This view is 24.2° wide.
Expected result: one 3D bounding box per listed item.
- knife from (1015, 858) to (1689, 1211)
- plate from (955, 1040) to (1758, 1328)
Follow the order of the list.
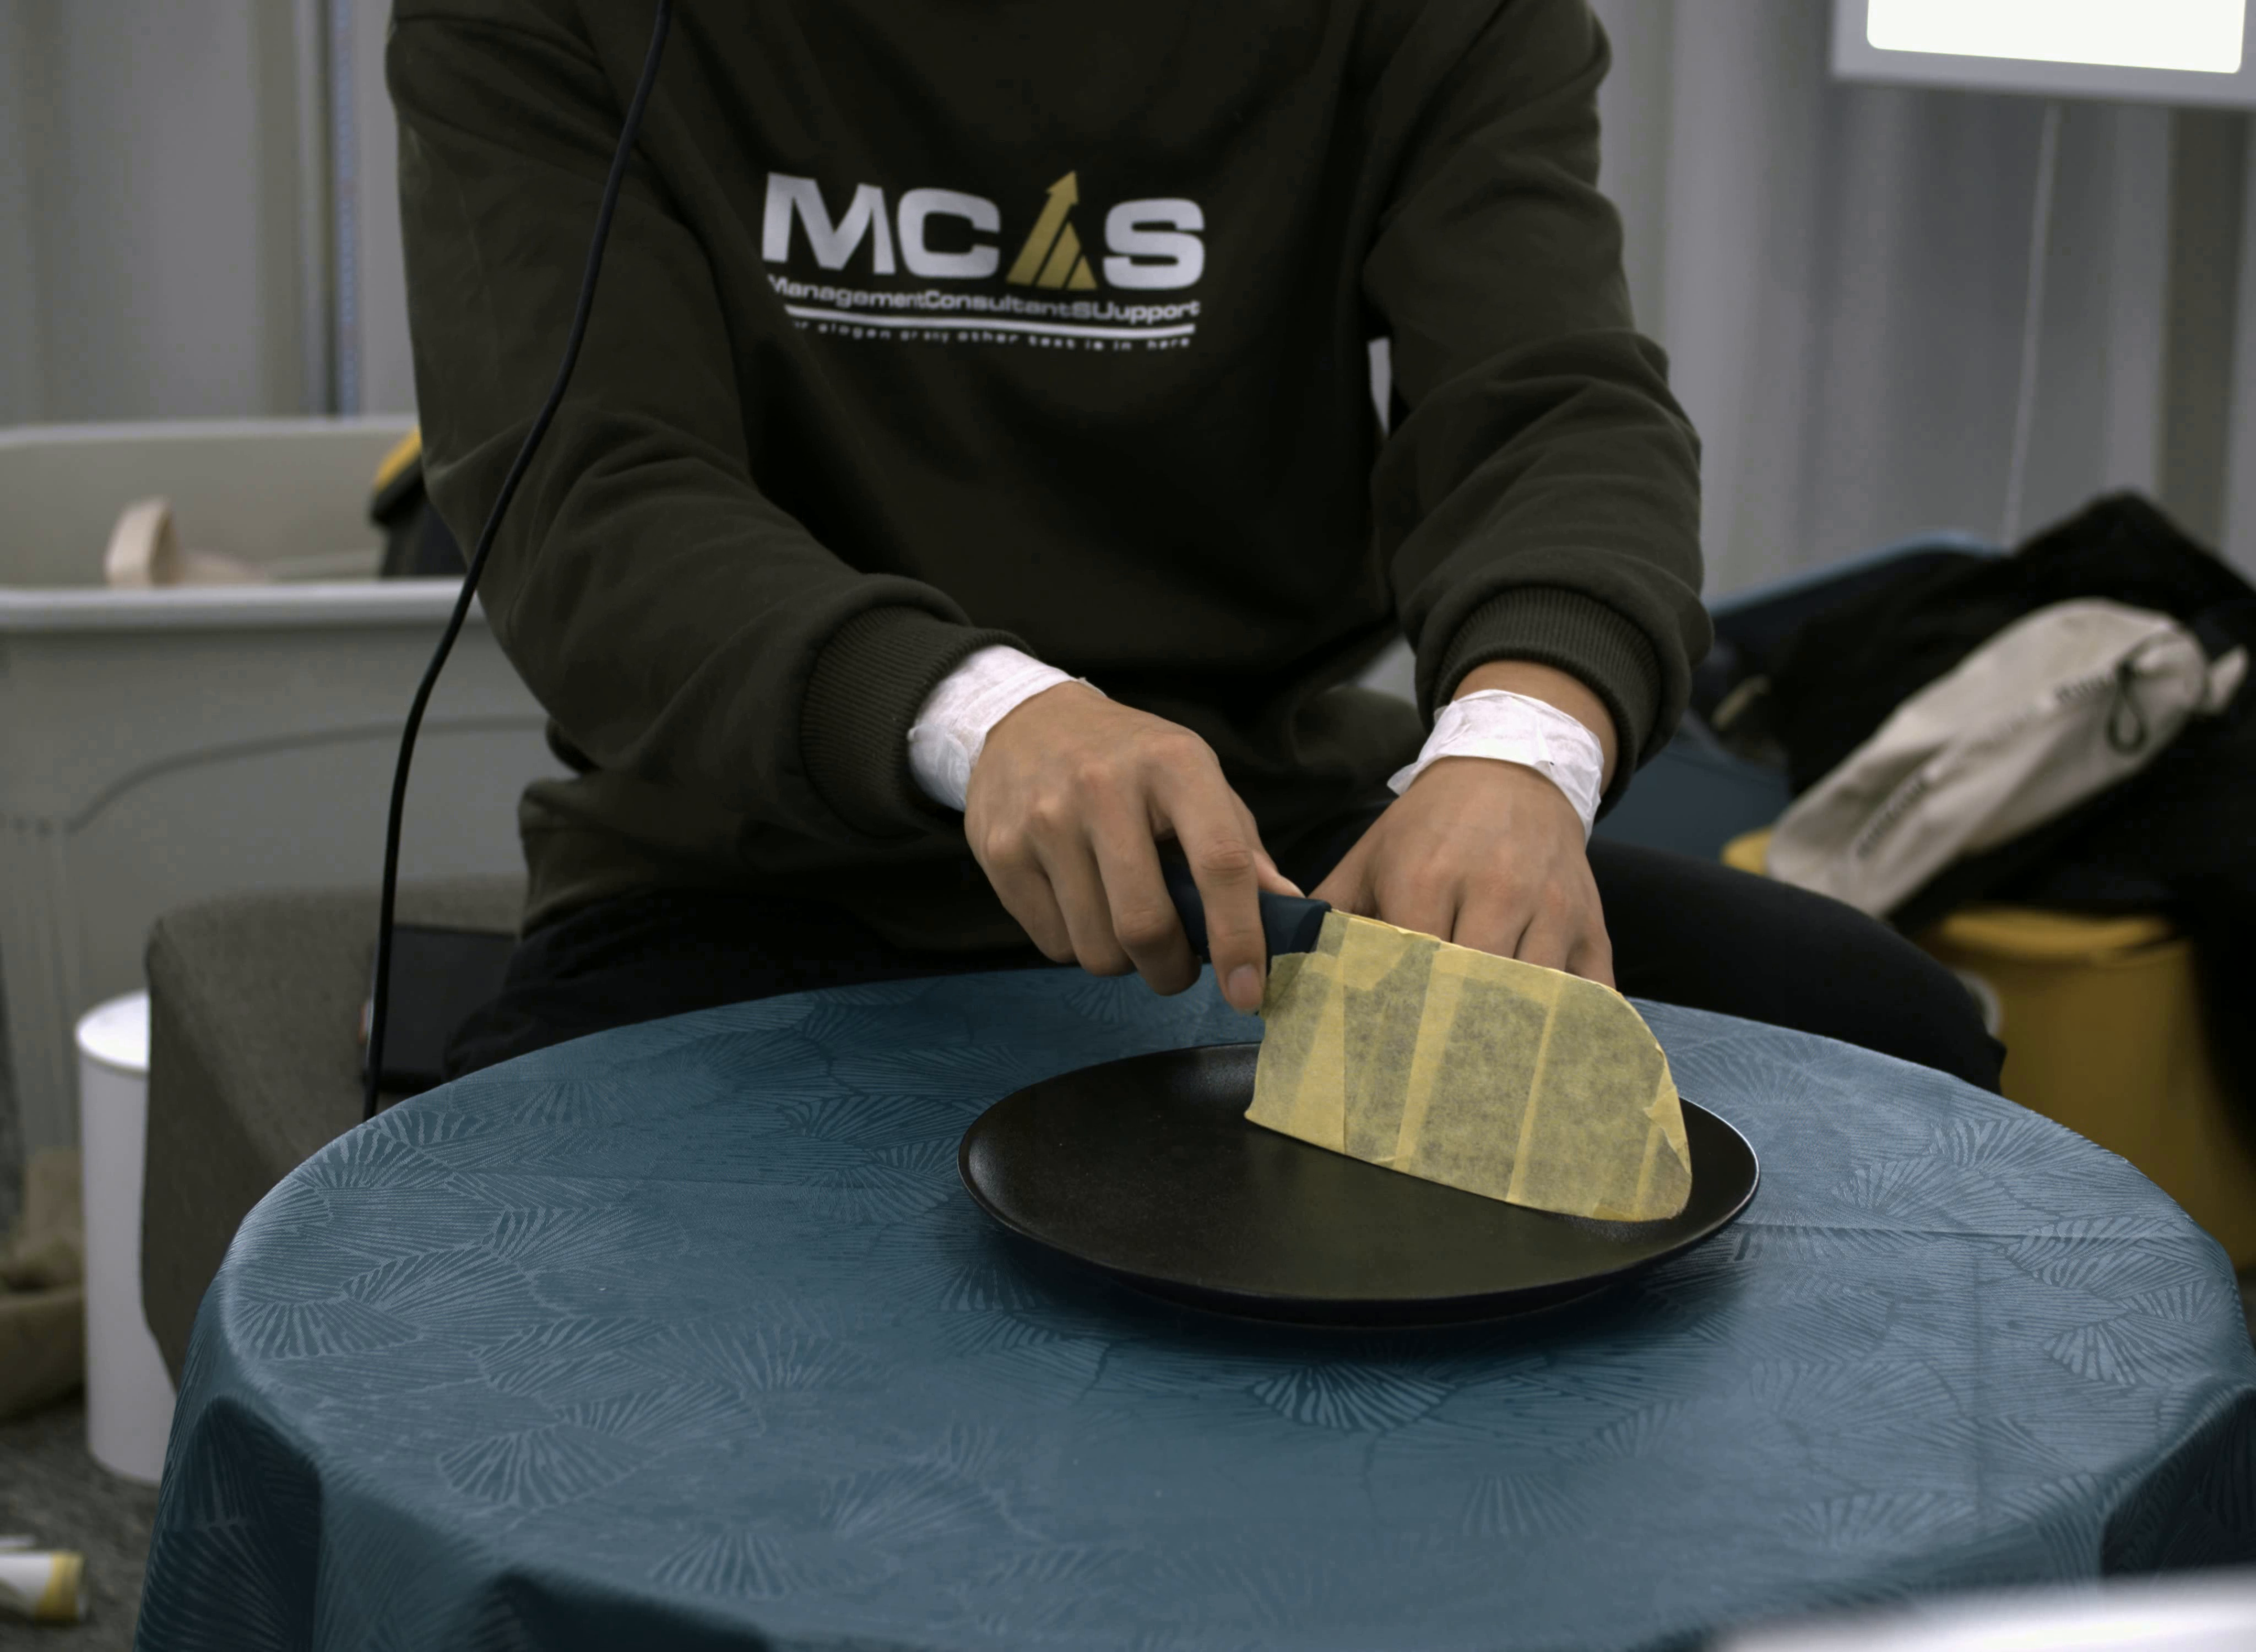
[{"bbox_3d":[0.065,0.062,1.641,0.285,0.081,0.027,19,4,42],"label":"knife"},{"bbox_3d":[0.068,0.110,1.592,0.243,0.023,0.243,1,15,0],"label":"plate"}]
